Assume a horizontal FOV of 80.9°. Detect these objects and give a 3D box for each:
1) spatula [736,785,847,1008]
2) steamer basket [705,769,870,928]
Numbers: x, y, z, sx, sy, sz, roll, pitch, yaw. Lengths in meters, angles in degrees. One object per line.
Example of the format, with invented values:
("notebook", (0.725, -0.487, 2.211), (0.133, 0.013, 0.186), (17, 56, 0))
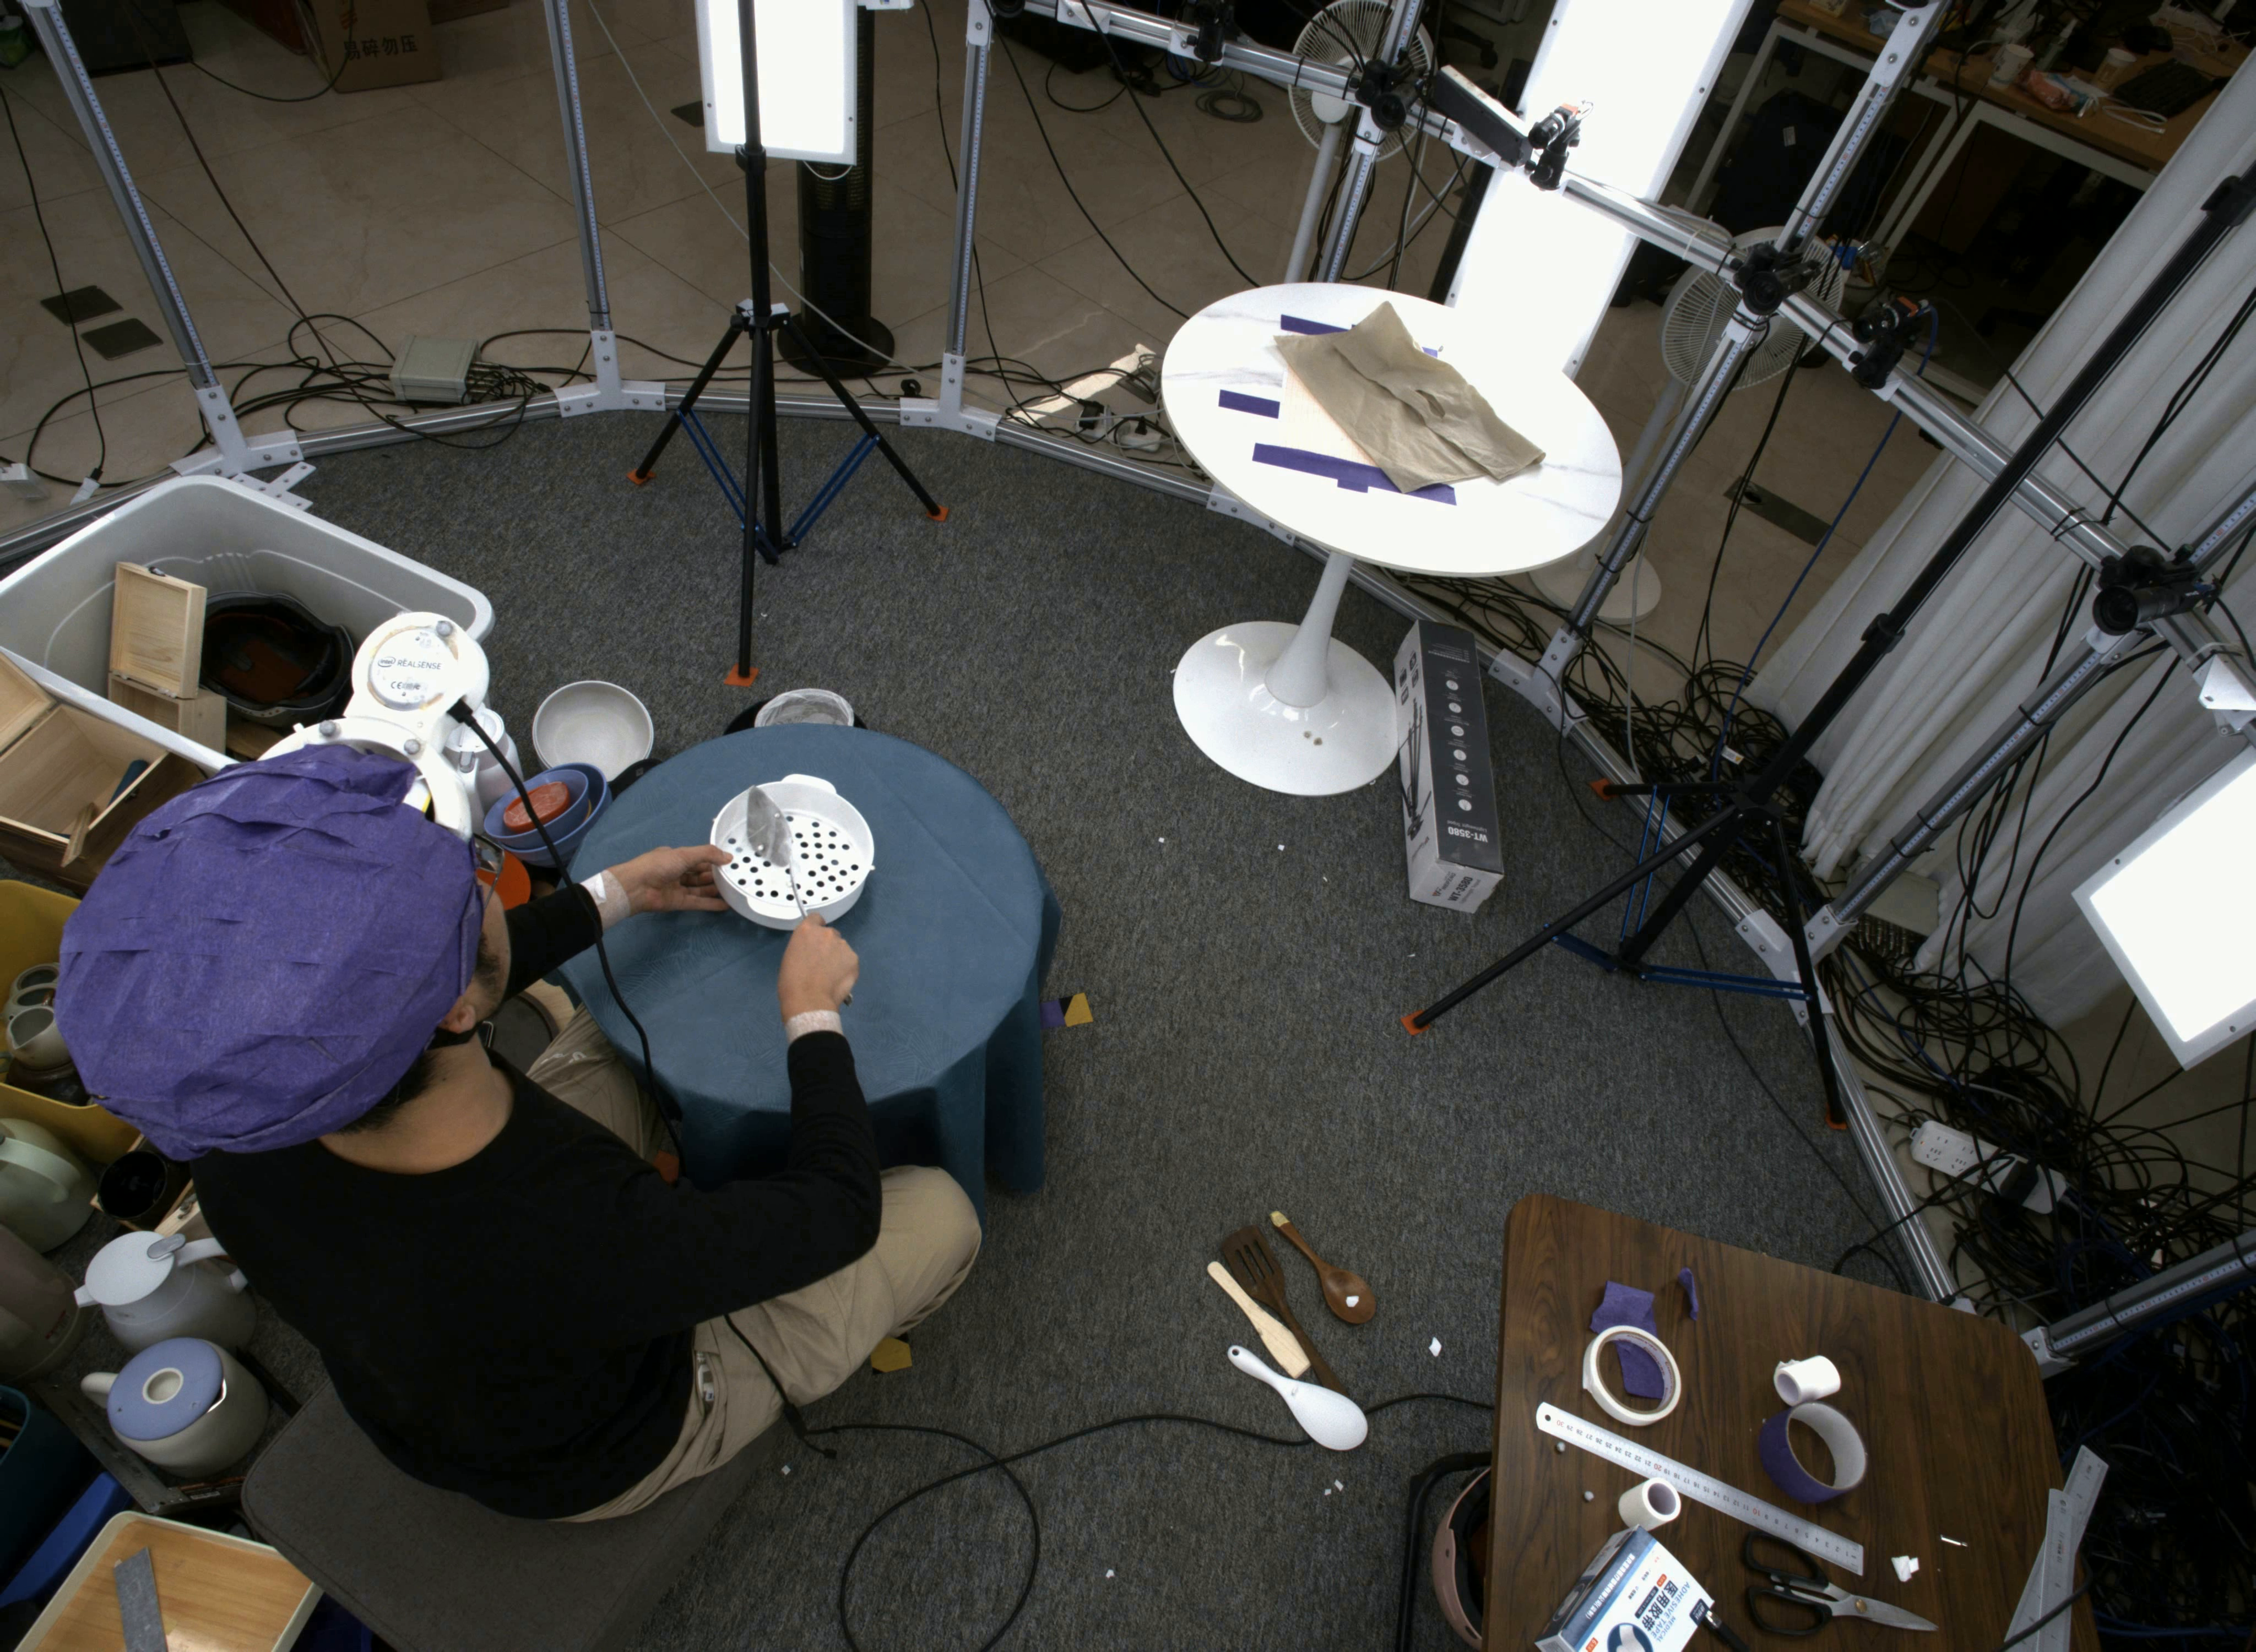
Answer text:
("spatula", (-0.401, 0.084, 1.528), (0.045, 0.101, 0.352), (-5, 39, -29))
("steamer basket", (-0.431, 0.034, 1.637), (0.202, 0.070, 0.226), (13, 50, -12))
